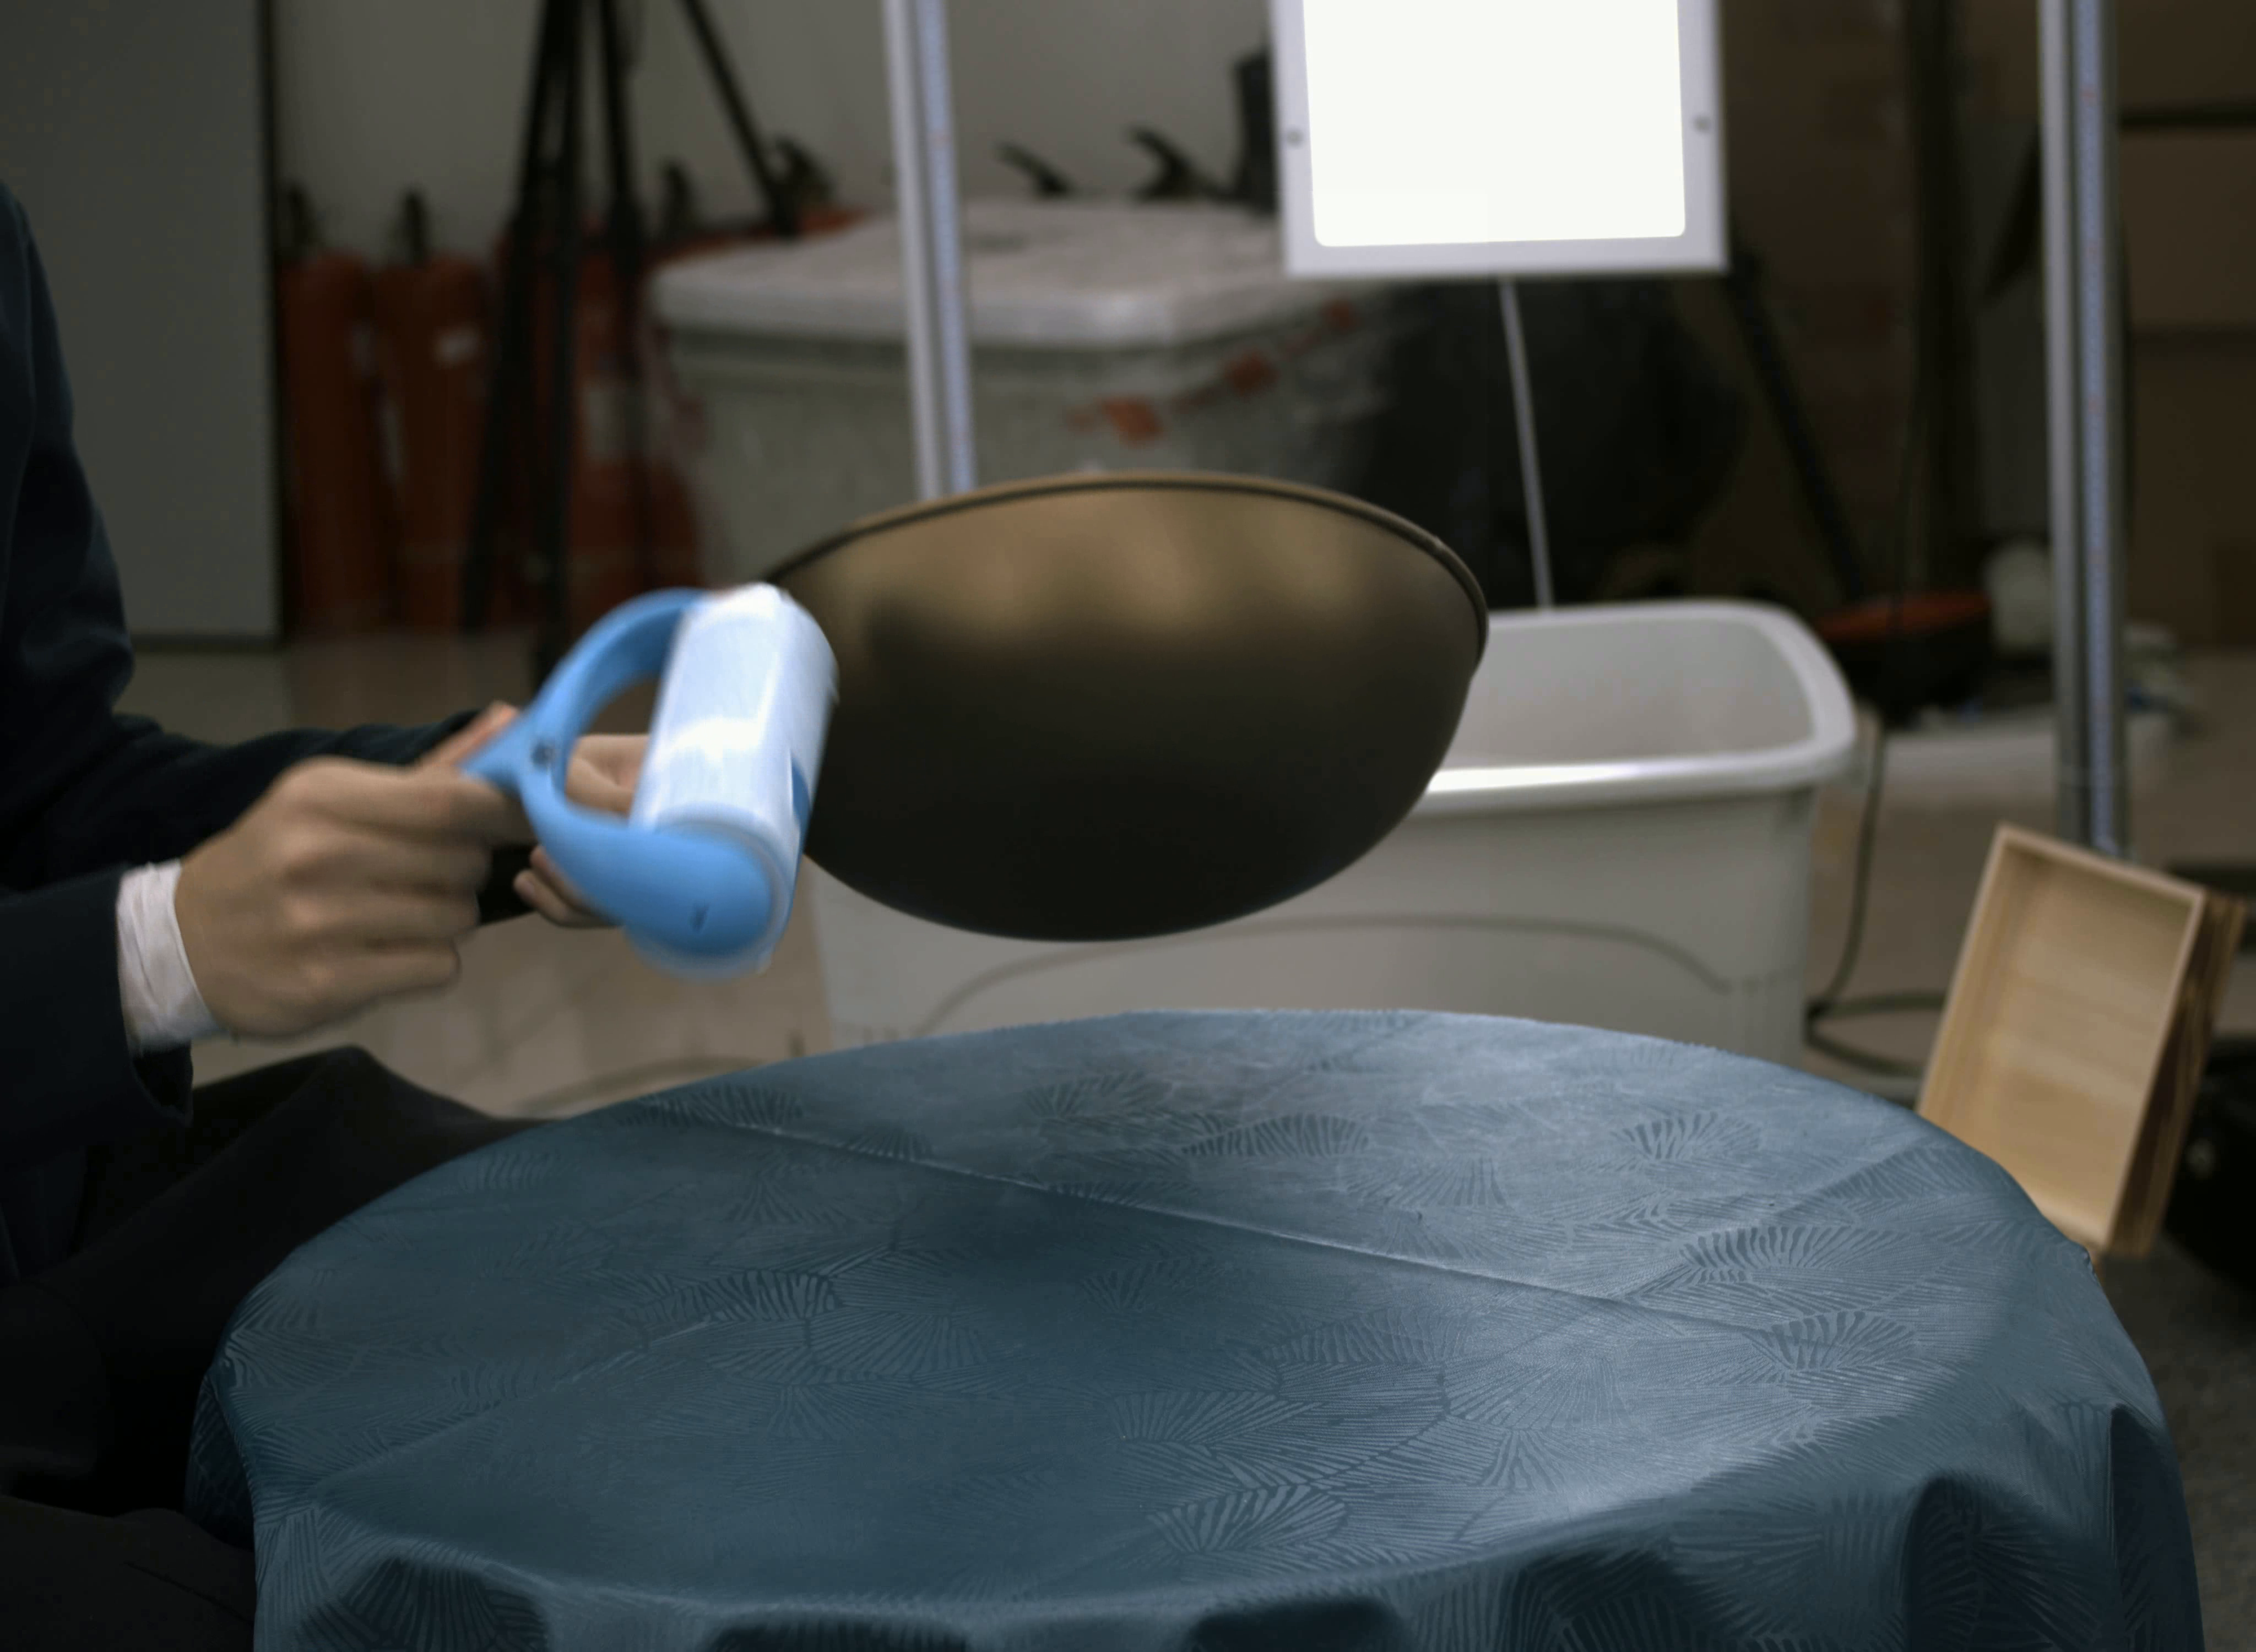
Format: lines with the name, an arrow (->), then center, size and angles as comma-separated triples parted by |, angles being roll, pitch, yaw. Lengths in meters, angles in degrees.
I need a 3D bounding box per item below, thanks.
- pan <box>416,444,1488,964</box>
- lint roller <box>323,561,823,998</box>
pan -> -0.084, 0.000, 1.962 | 0.473, 0.087, 0.282 | -21, -32, 32
lint roller -> -0.177, -0.006, 1.703 | 0.180, 0.068, 0.229 | -22, 22, 4
